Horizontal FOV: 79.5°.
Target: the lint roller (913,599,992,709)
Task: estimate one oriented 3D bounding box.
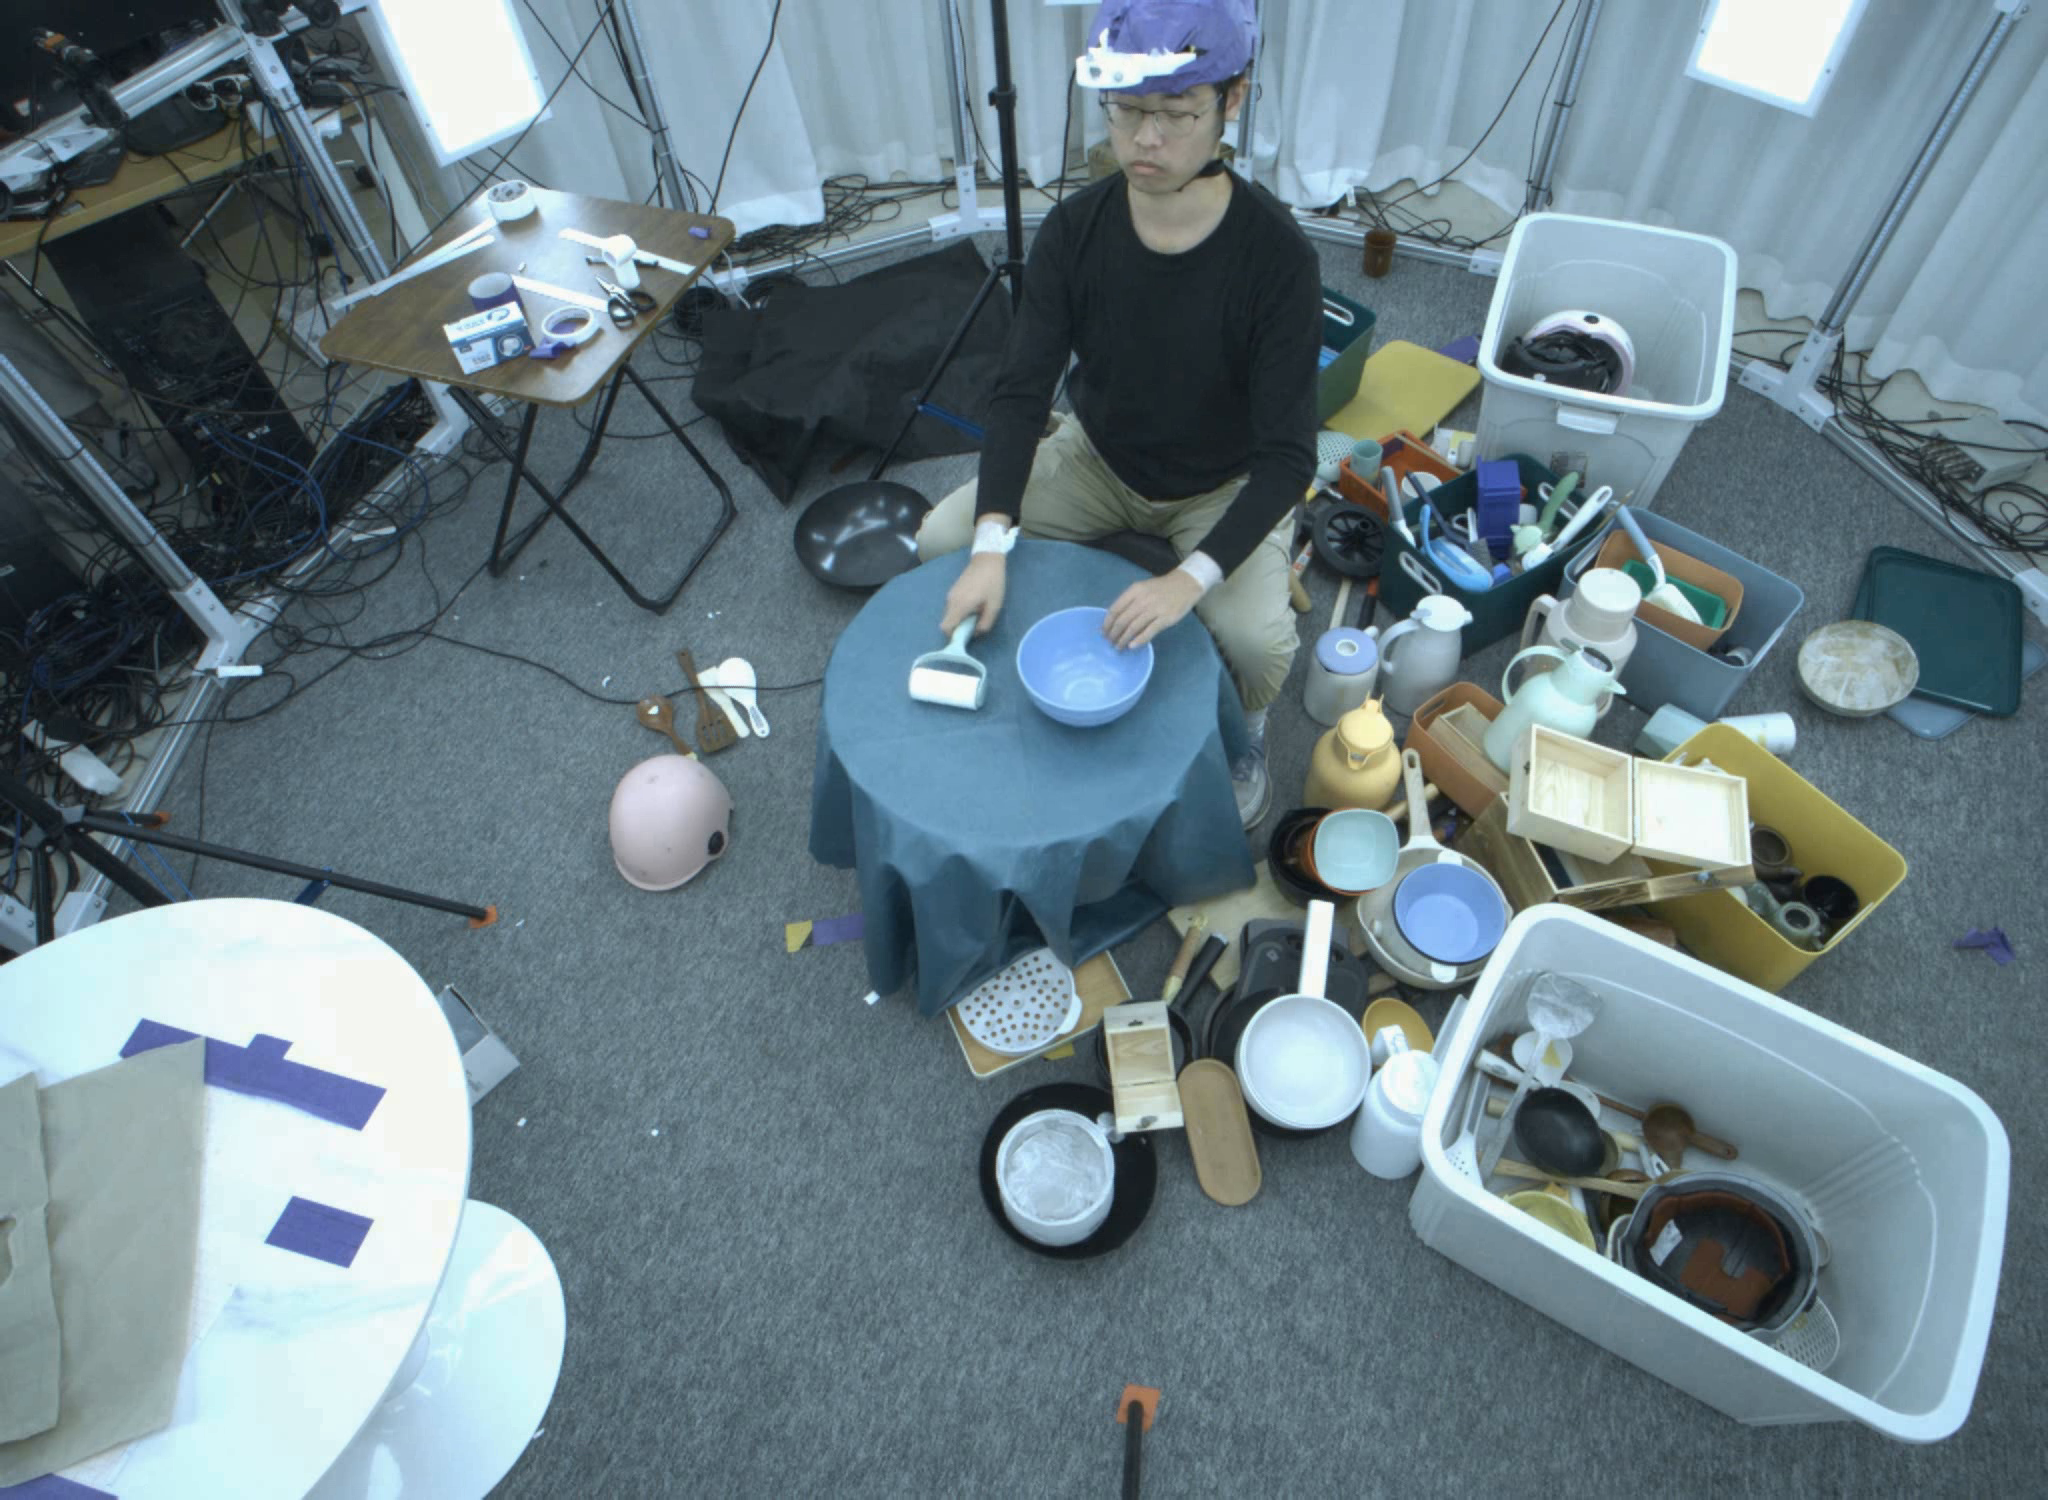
[{"bbox_3d":[-0.091,-0.154,1.858,0.116,0.049,0.196,9,64,10],"label":"lint roller"}]

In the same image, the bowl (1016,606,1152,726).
[{"bbox_3d":[0.090,-0.108,1.801,0.196,0.096,0.194,-1,54,3],"label":"bowl"}]
